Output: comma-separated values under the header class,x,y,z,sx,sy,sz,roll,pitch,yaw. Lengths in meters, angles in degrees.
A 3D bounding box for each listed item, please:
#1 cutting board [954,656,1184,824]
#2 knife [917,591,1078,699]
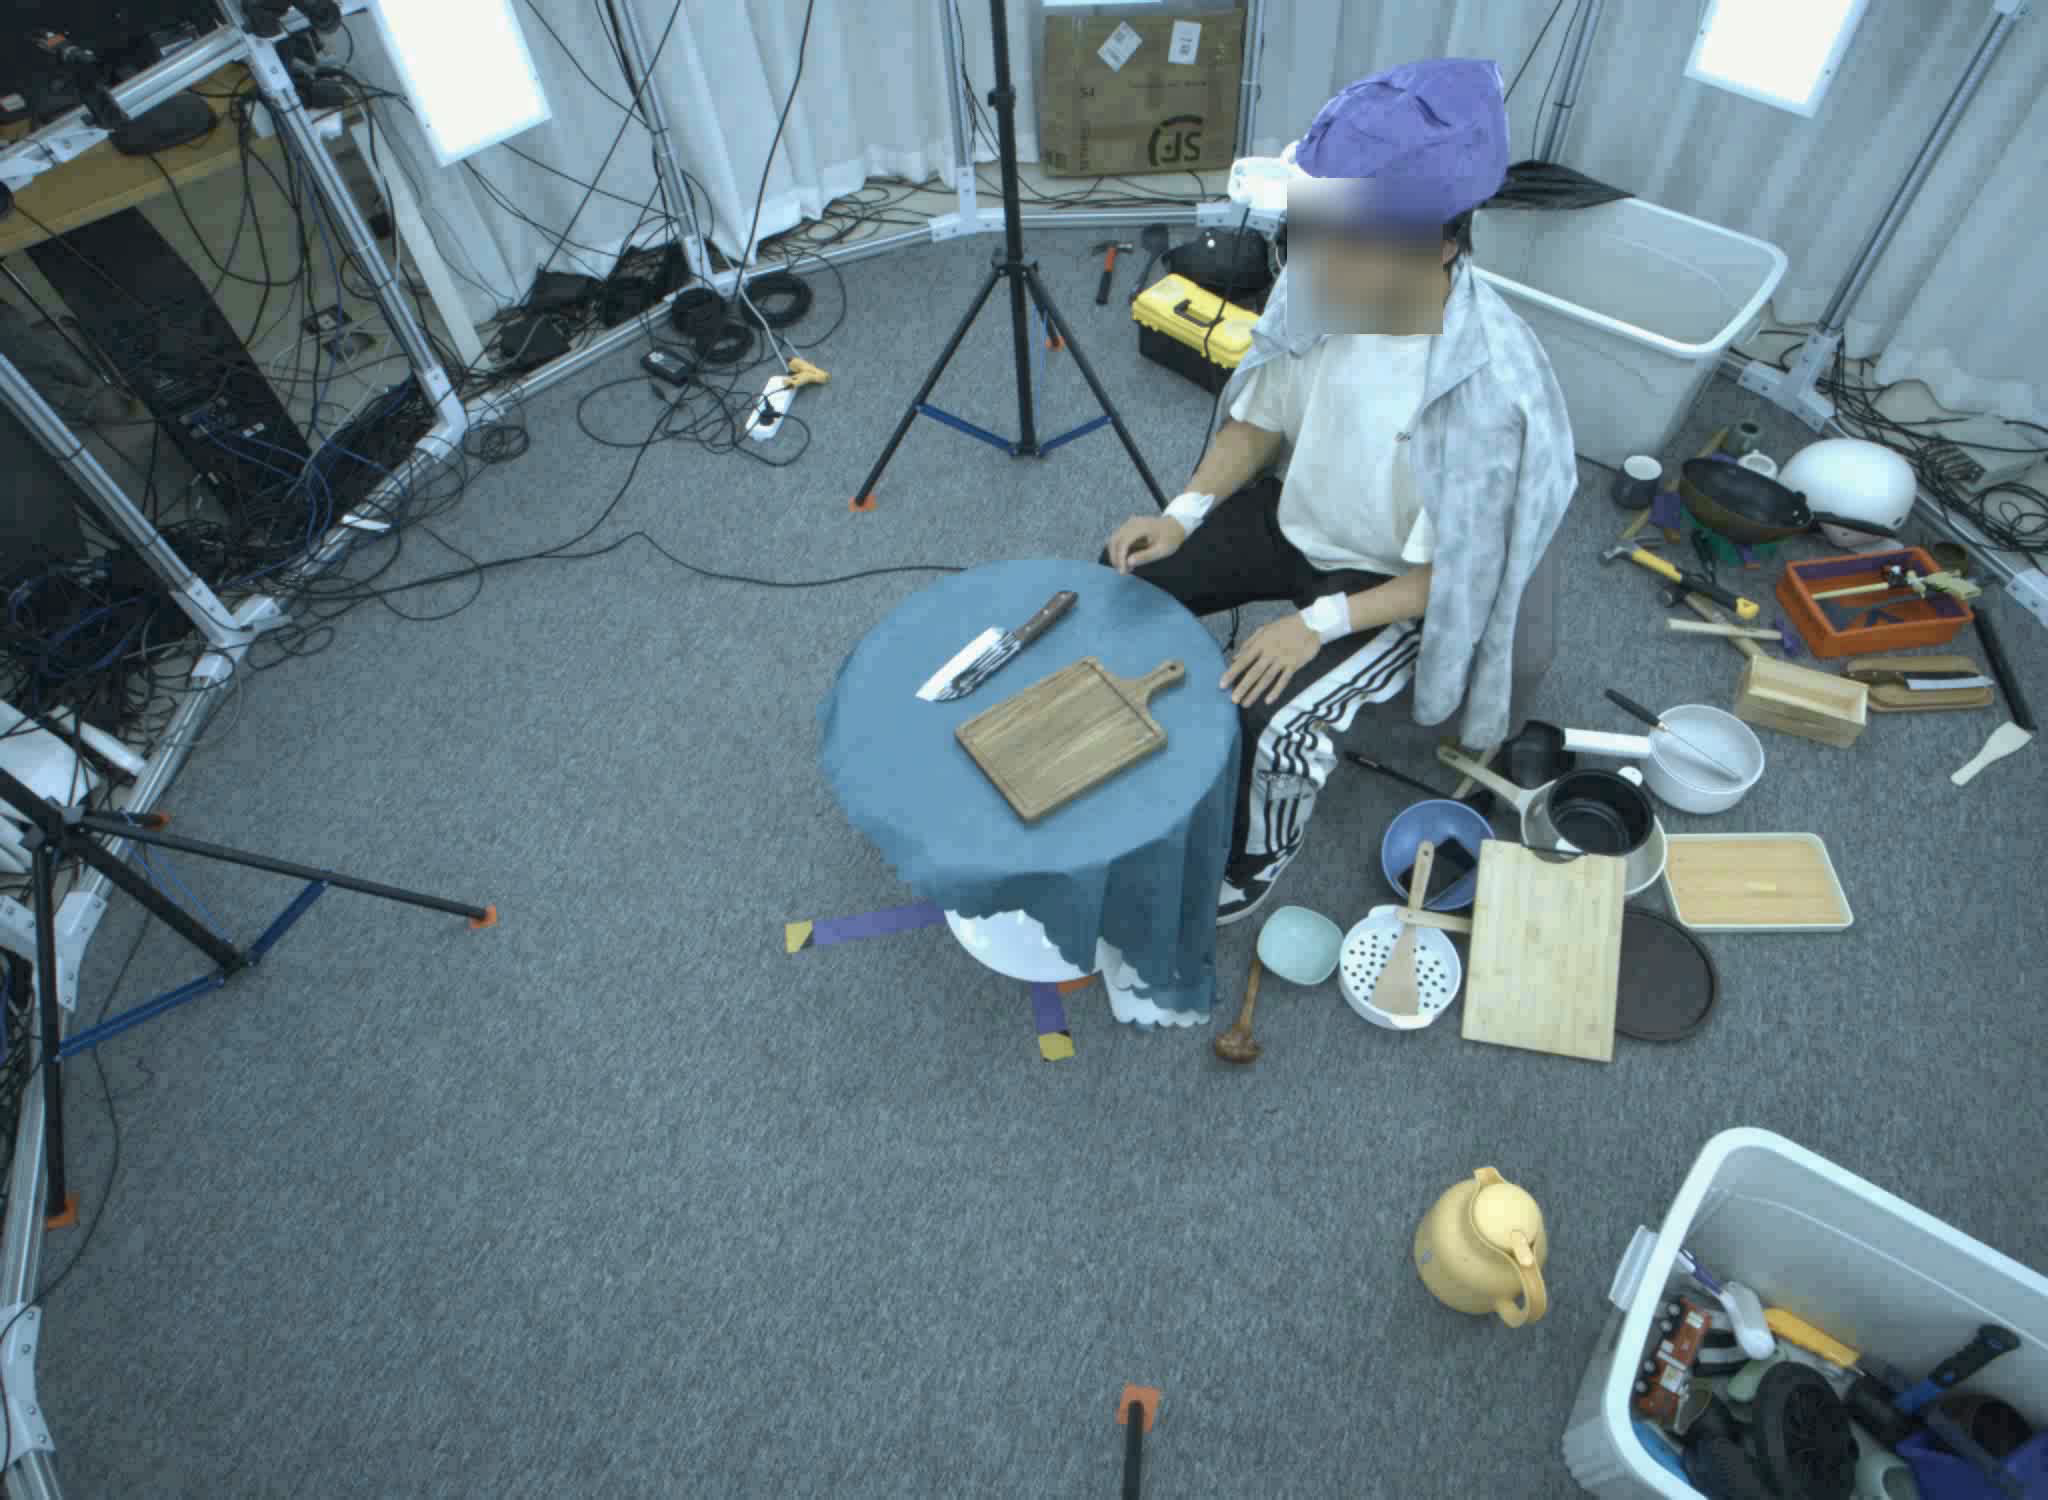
class,x,y,z,sx,sy,sz,roll,pitch,yaw
cutting board,0.094,-0.044,1.807,0.355,0.023,0.197,-30,57,-19
knife,-0.040,-0.165,1.895,0.301,0.024,0.067,-41,61,-20
